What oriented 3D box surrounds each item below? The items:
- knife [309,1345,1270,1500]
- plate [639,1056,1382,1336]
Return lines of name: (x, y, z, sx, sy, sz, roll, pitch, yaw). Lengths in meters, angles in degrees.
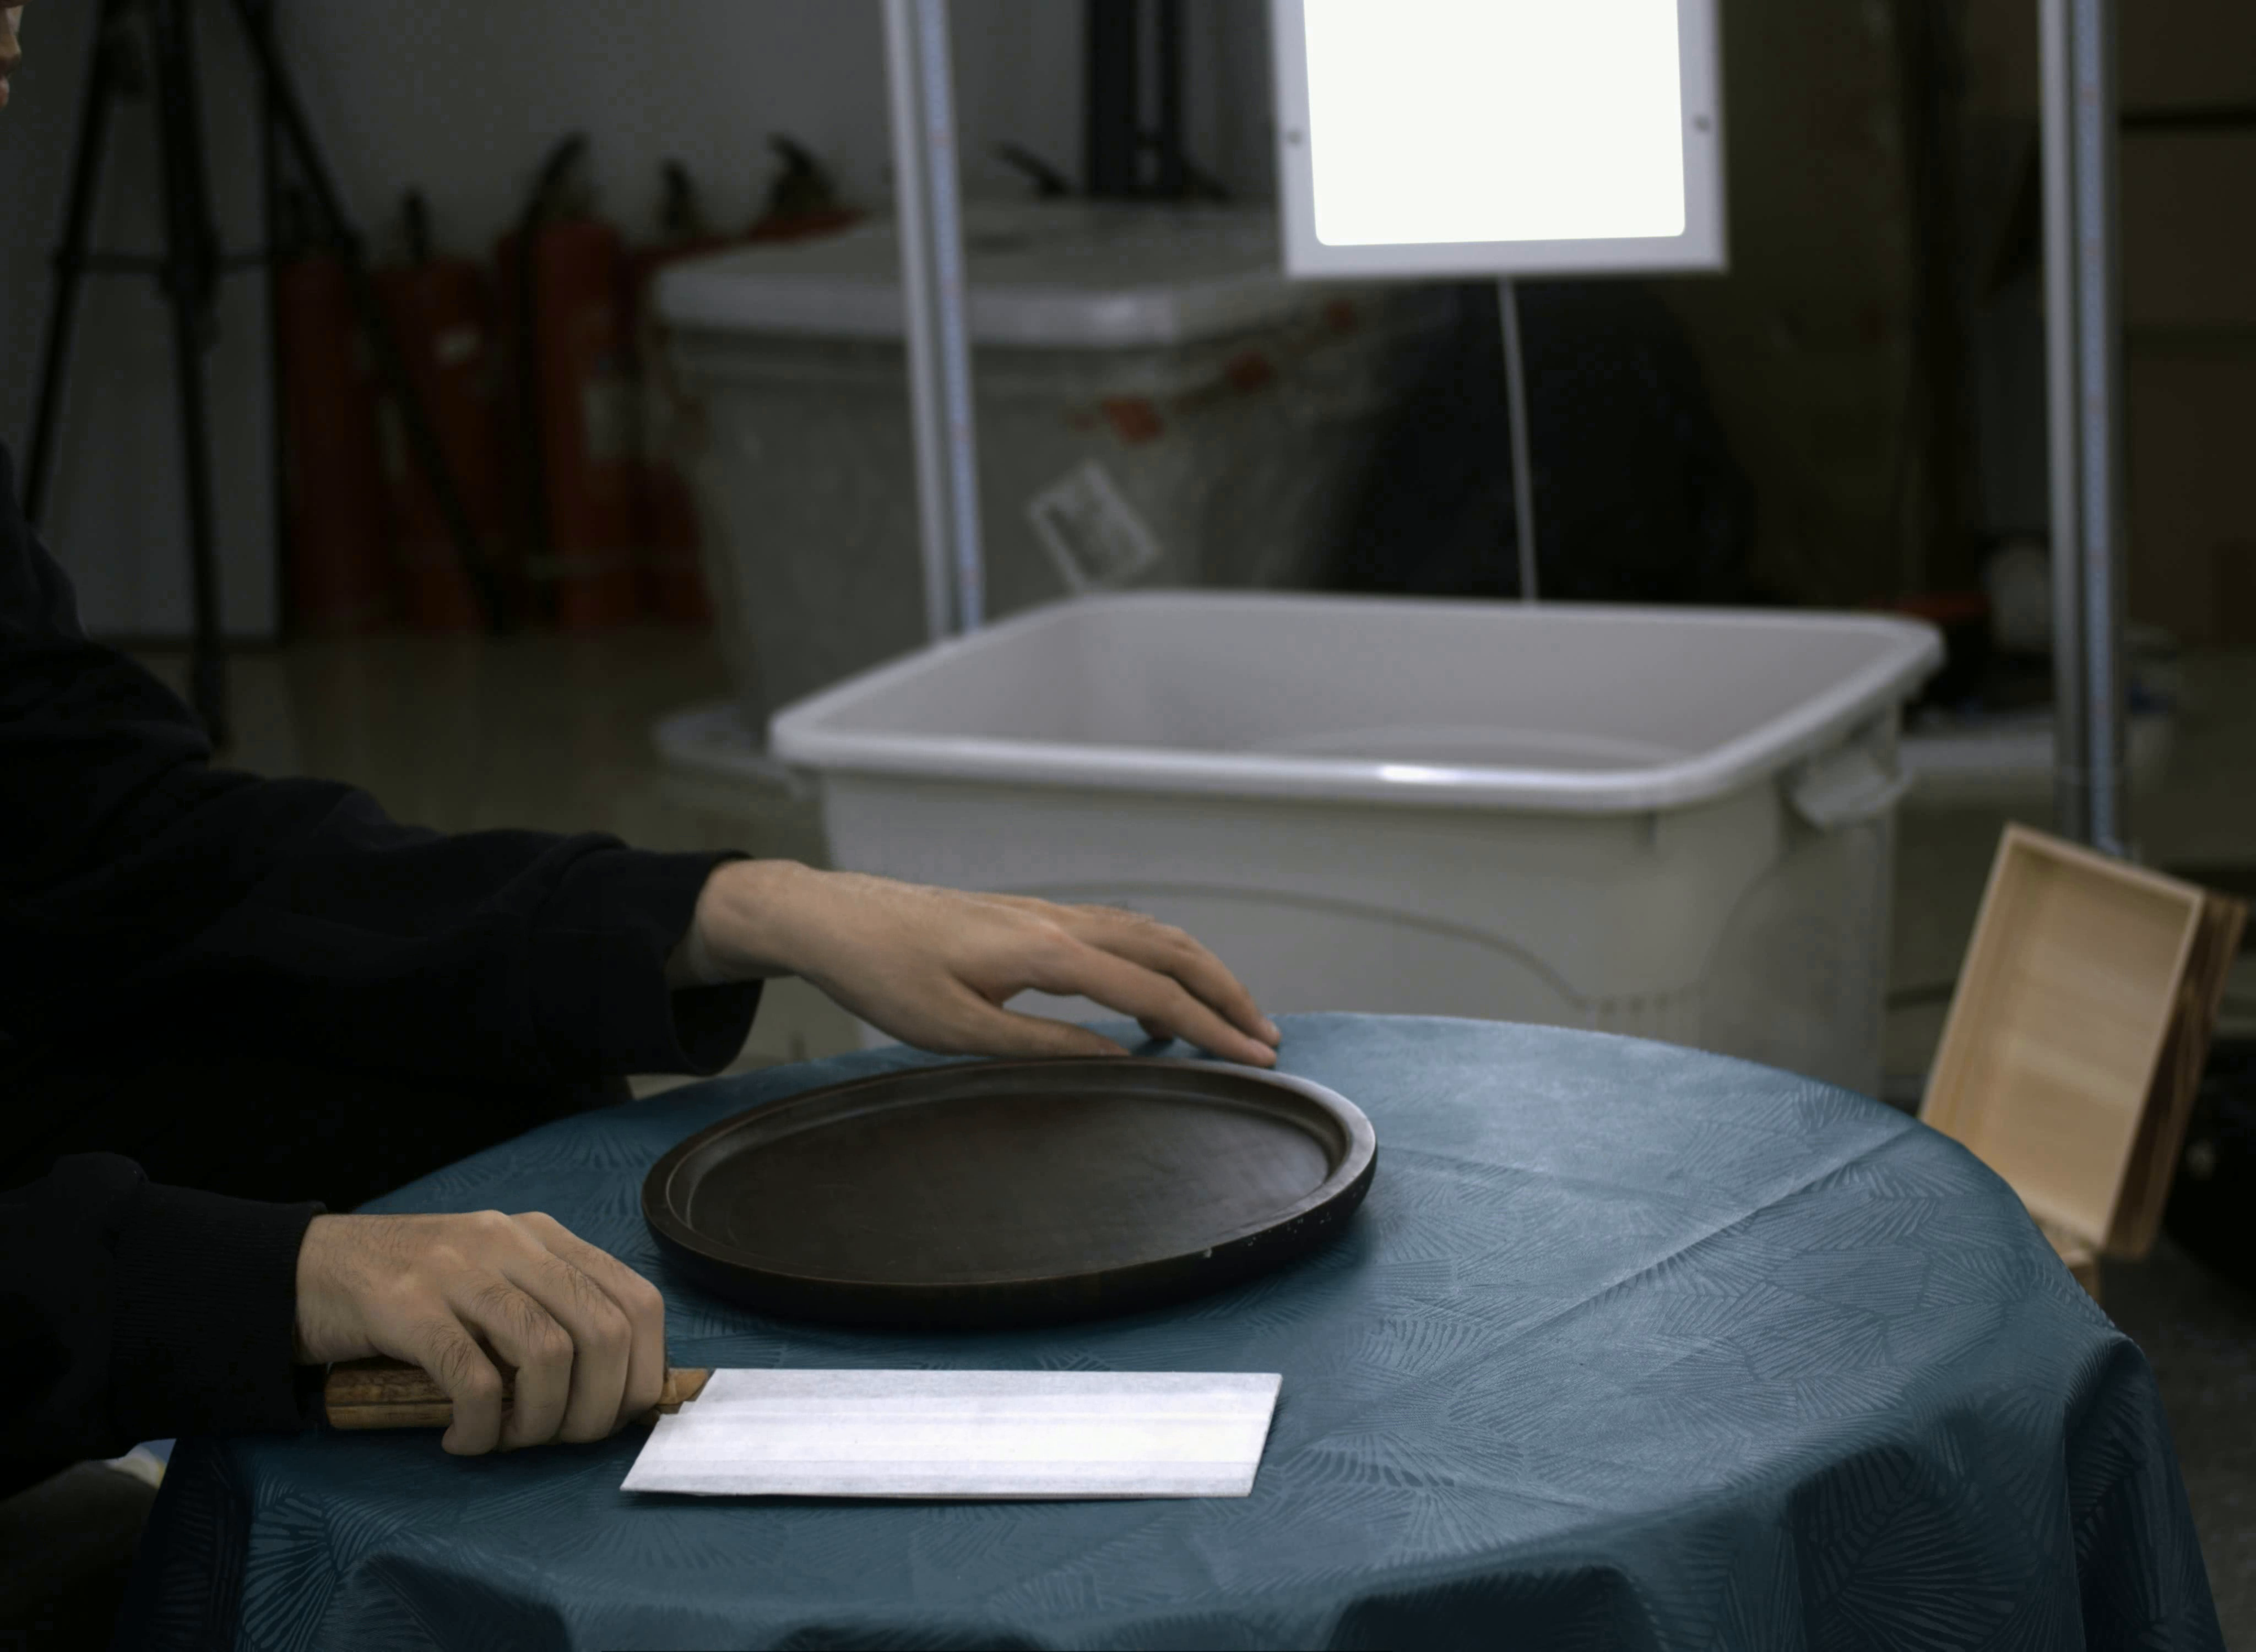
knife: (-0.108, 0.183, 1.677, 0.307, 0.021, 0.092, -1, 18, 11)
plate: (-0.039, 0.123, 1.873, 0.254, 0.029, 0.254, -5, 15, 0)
